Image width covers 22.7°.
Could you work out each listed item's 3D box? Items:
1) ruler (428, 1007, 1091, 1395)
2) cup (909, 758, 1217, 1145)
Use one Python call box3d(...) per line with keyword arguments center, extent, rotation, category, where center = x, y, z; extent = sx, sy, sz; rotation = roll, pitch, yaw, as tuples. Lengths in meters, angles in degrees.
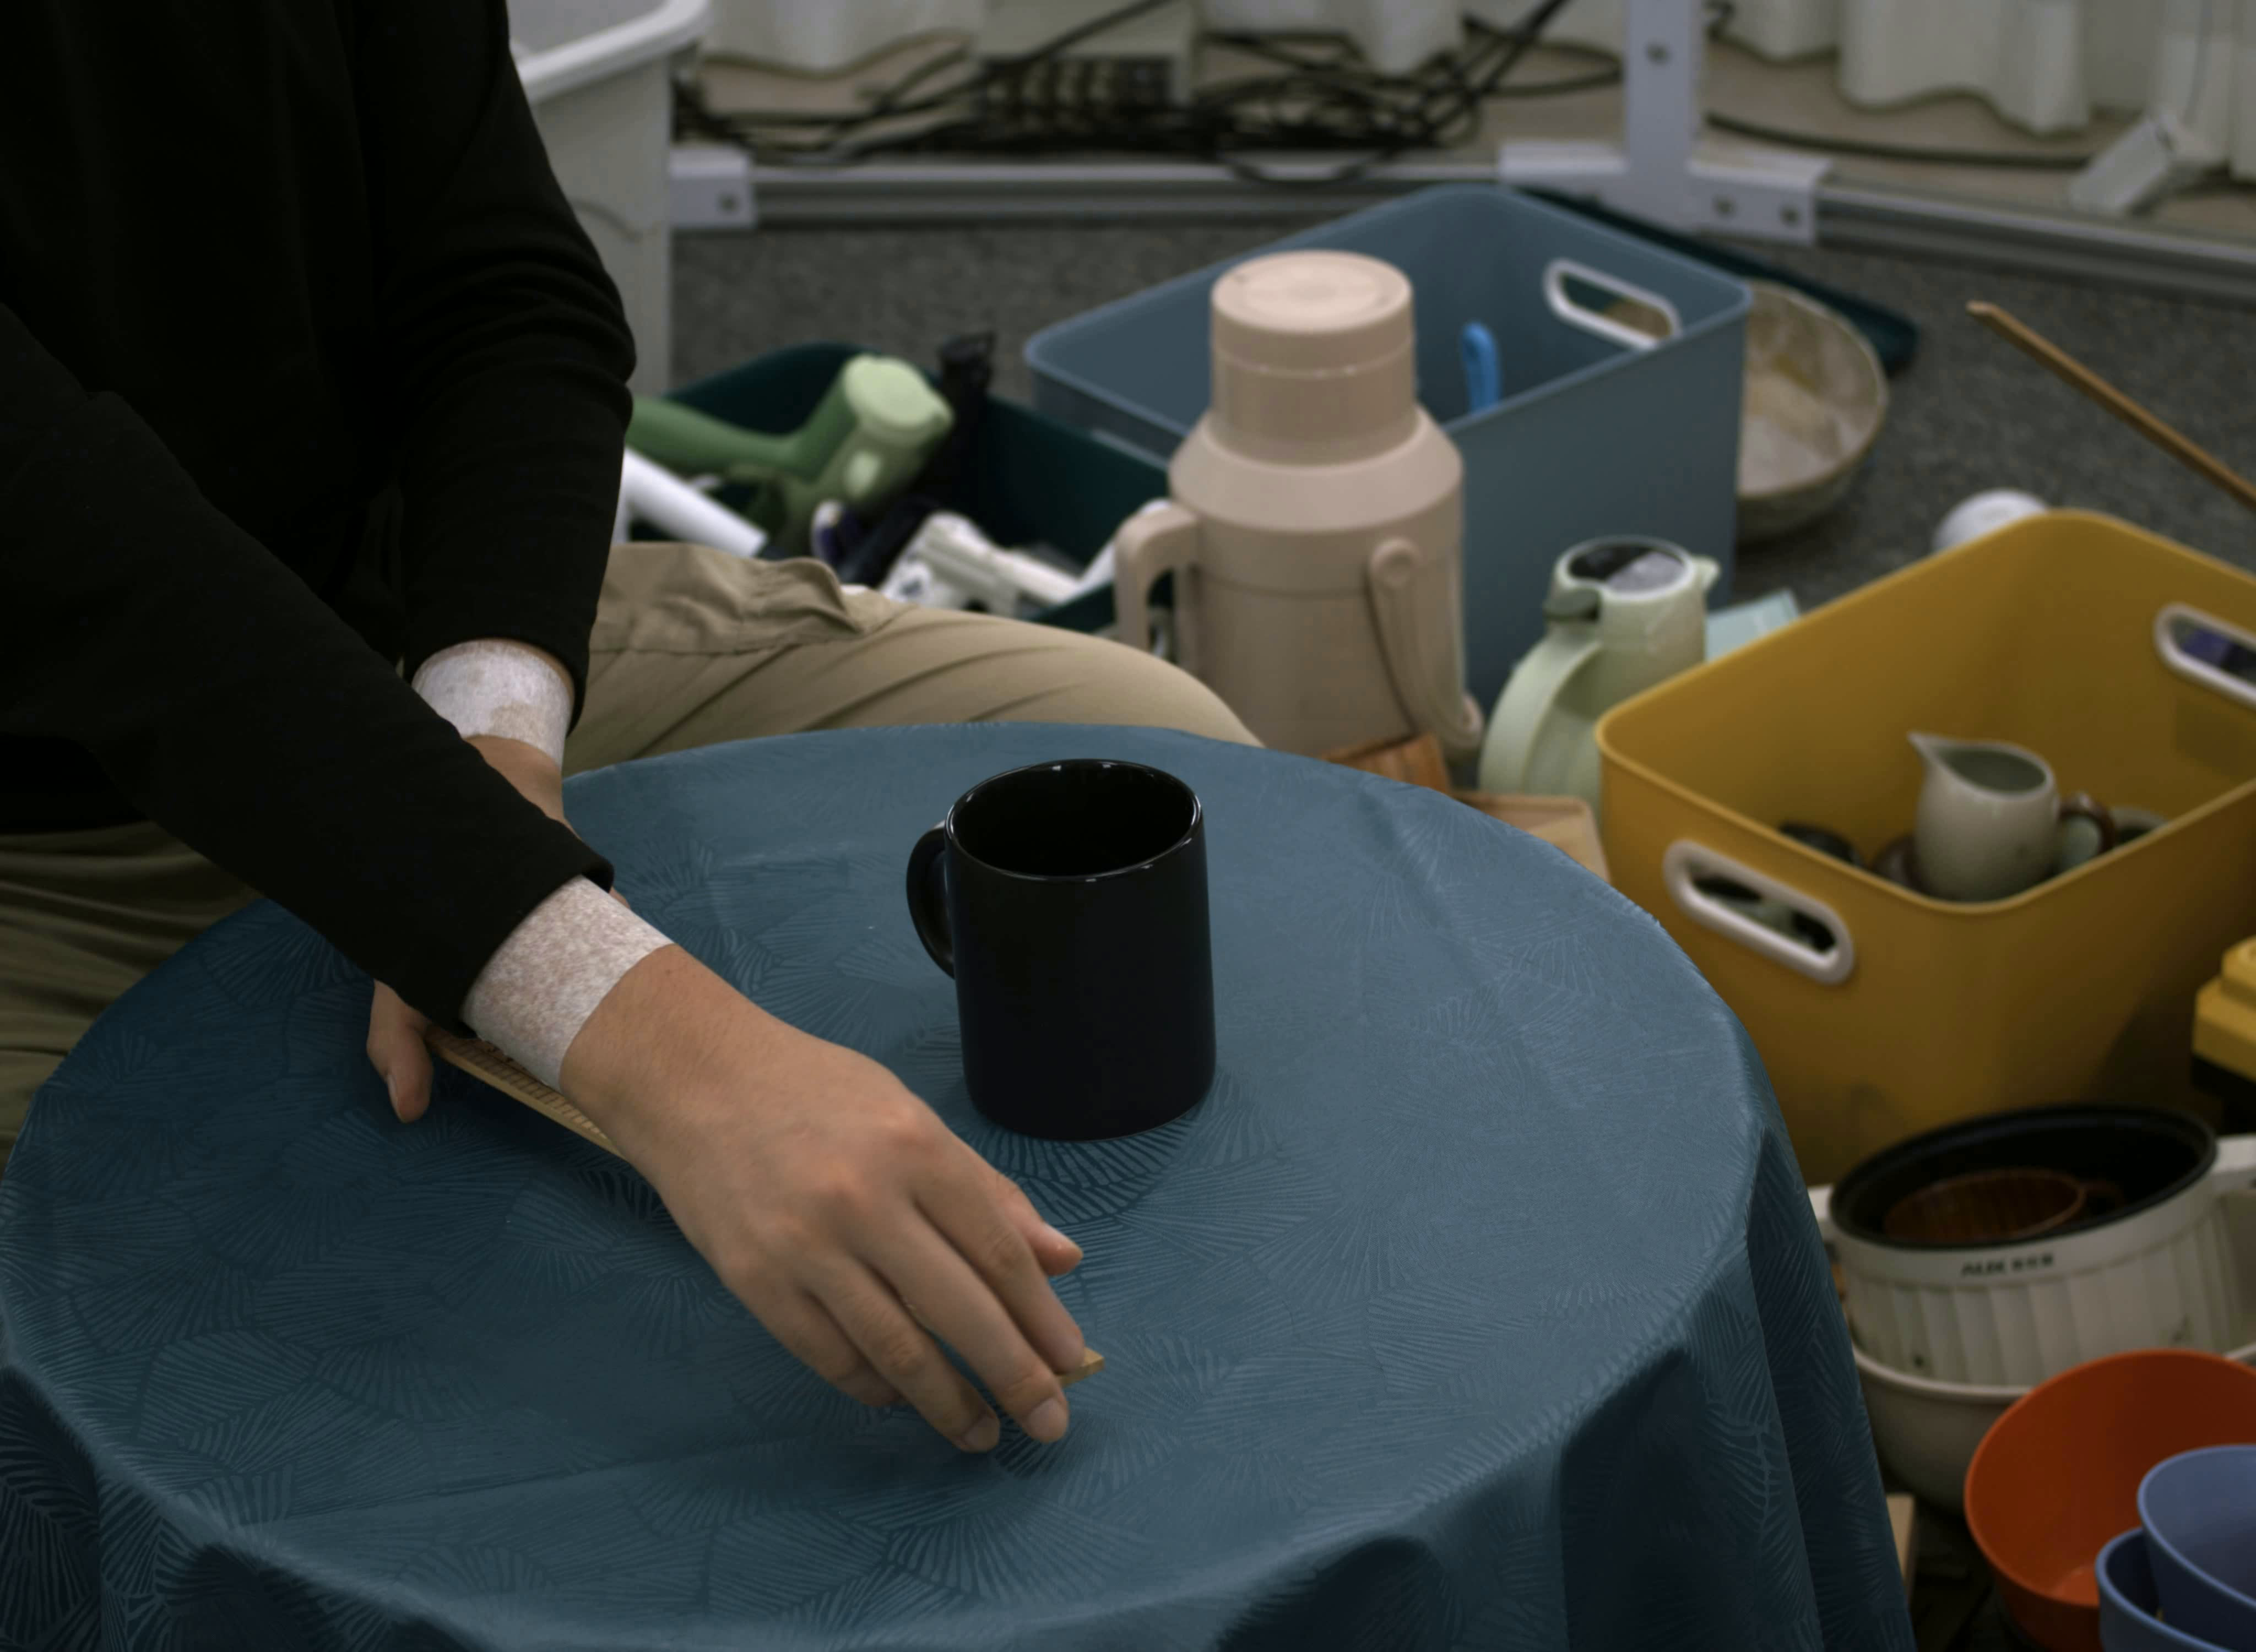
box3d(center=(-0.128, 0.117, 1.836), extent=(0.028, 0.022, 0.331), rotation=(-17, 29, -37), category="ruler")
box3d(center=(-0.029, 0.037, 1.918), extent=(0.123, 0.104, 0.090), rotation=(21, 37, 40), category="cup")
